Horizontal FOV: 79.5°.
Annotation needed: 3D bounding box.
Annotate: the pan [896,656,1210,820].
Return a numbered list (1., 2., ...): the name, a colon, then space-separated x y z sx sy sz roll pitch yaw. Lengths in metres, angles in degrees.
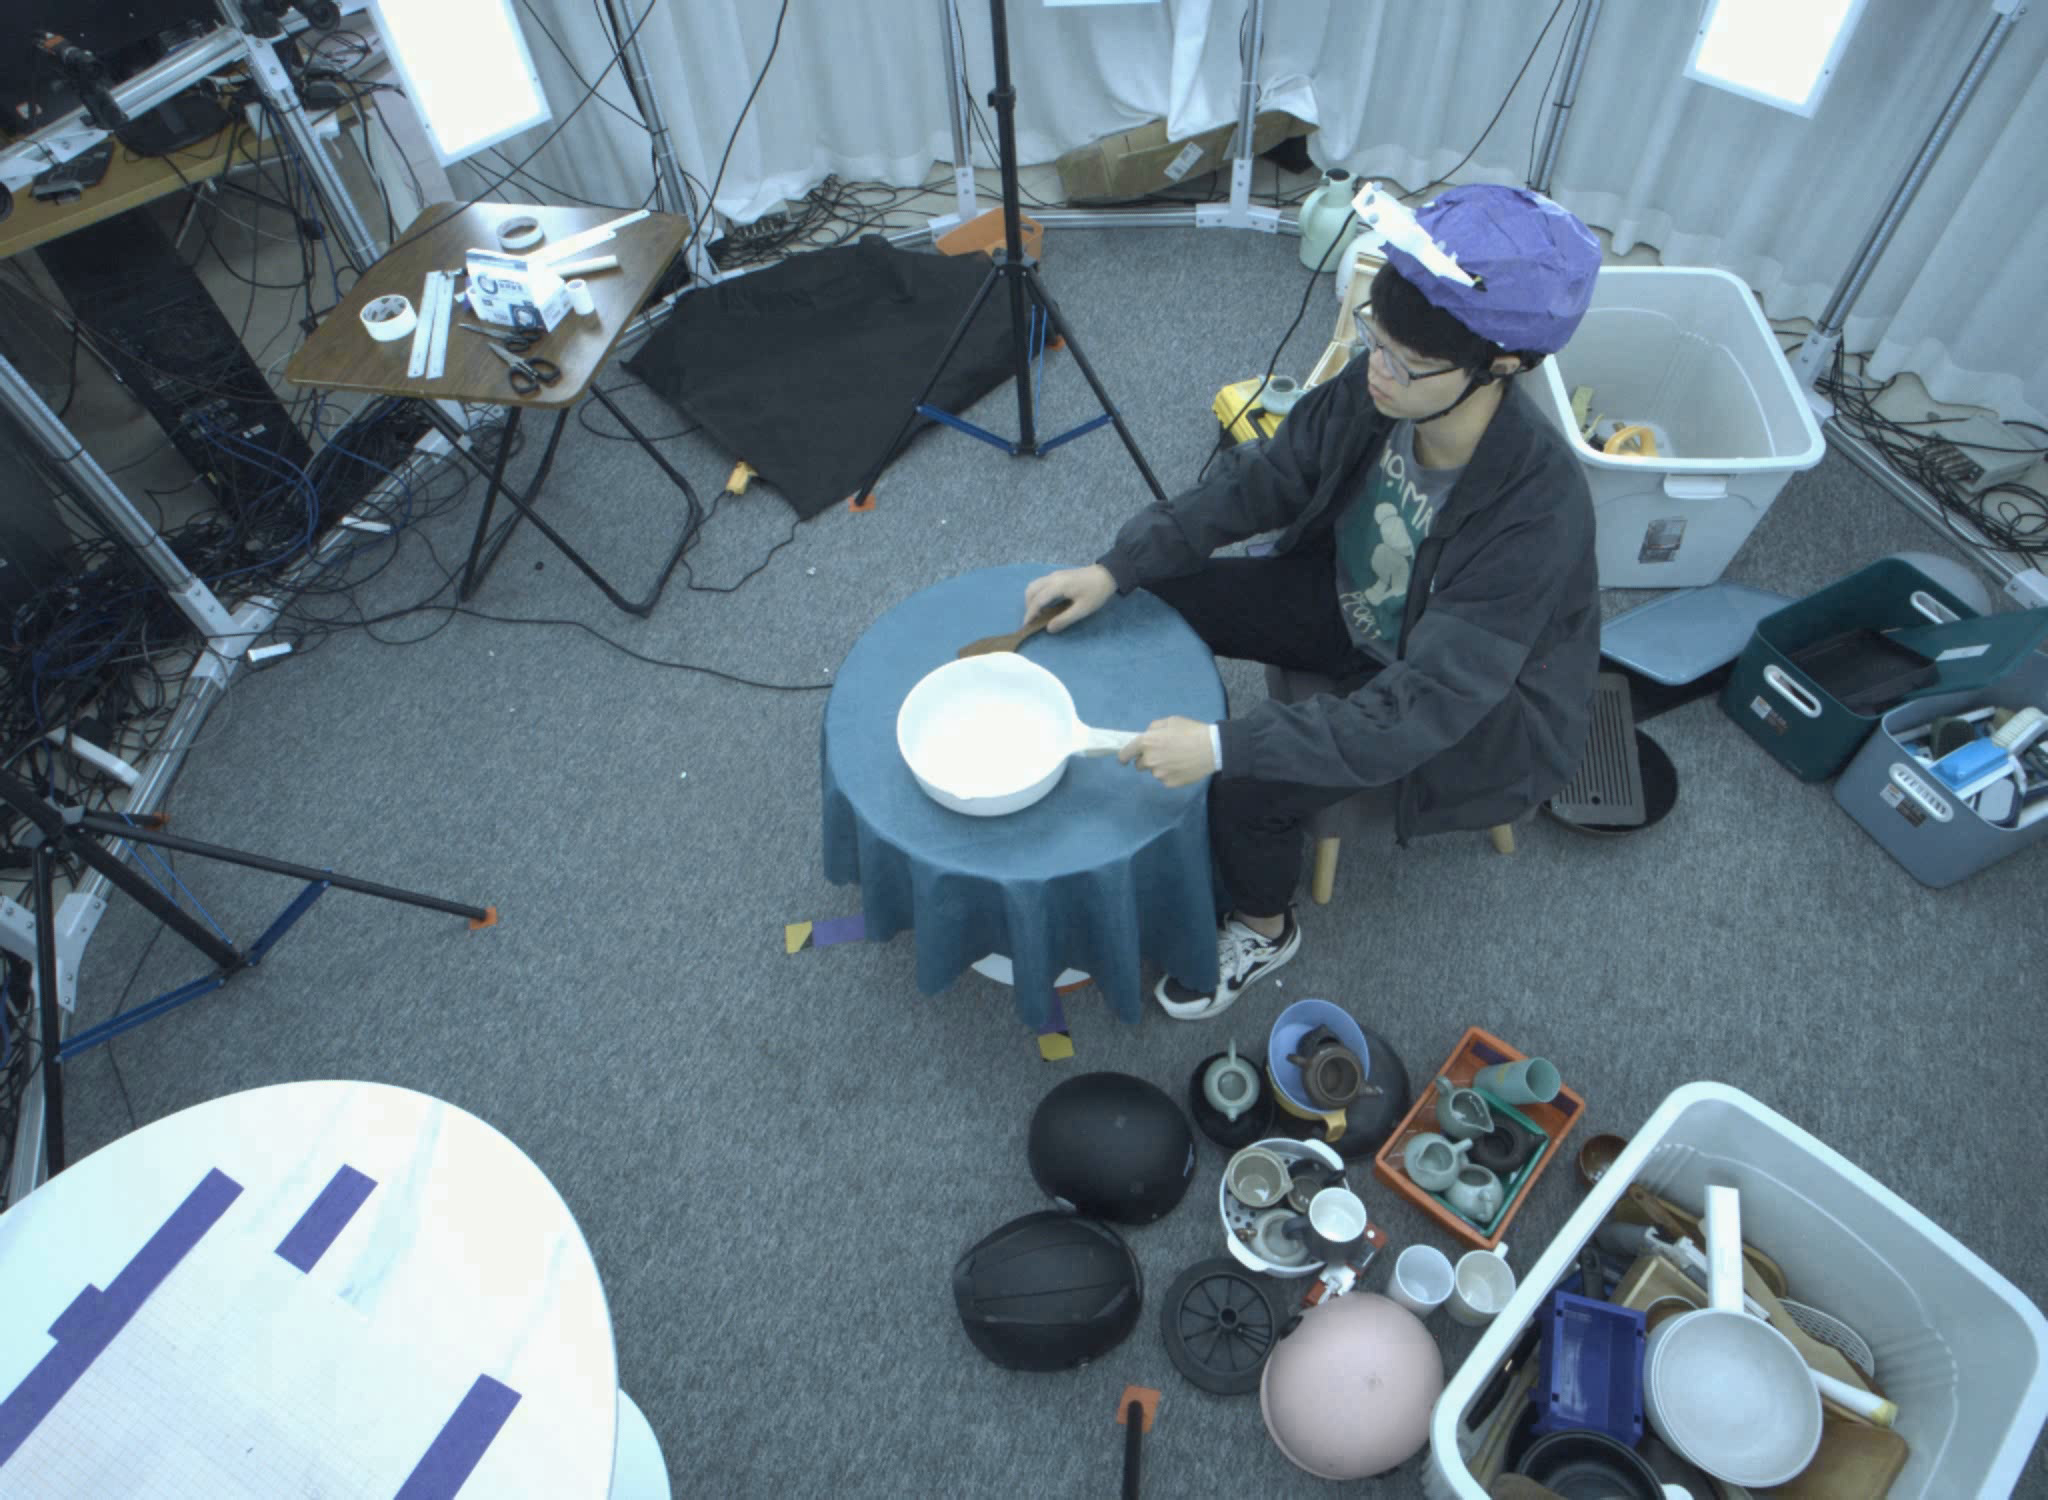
1. pan: 0.039 -0.001 1.718 0.432 0.103 0.262 9 54 8

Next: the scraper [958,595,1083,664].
1. scraper: 0.000 -0.181 1.895 0.212 0.011 0.074 -32 60 -13
